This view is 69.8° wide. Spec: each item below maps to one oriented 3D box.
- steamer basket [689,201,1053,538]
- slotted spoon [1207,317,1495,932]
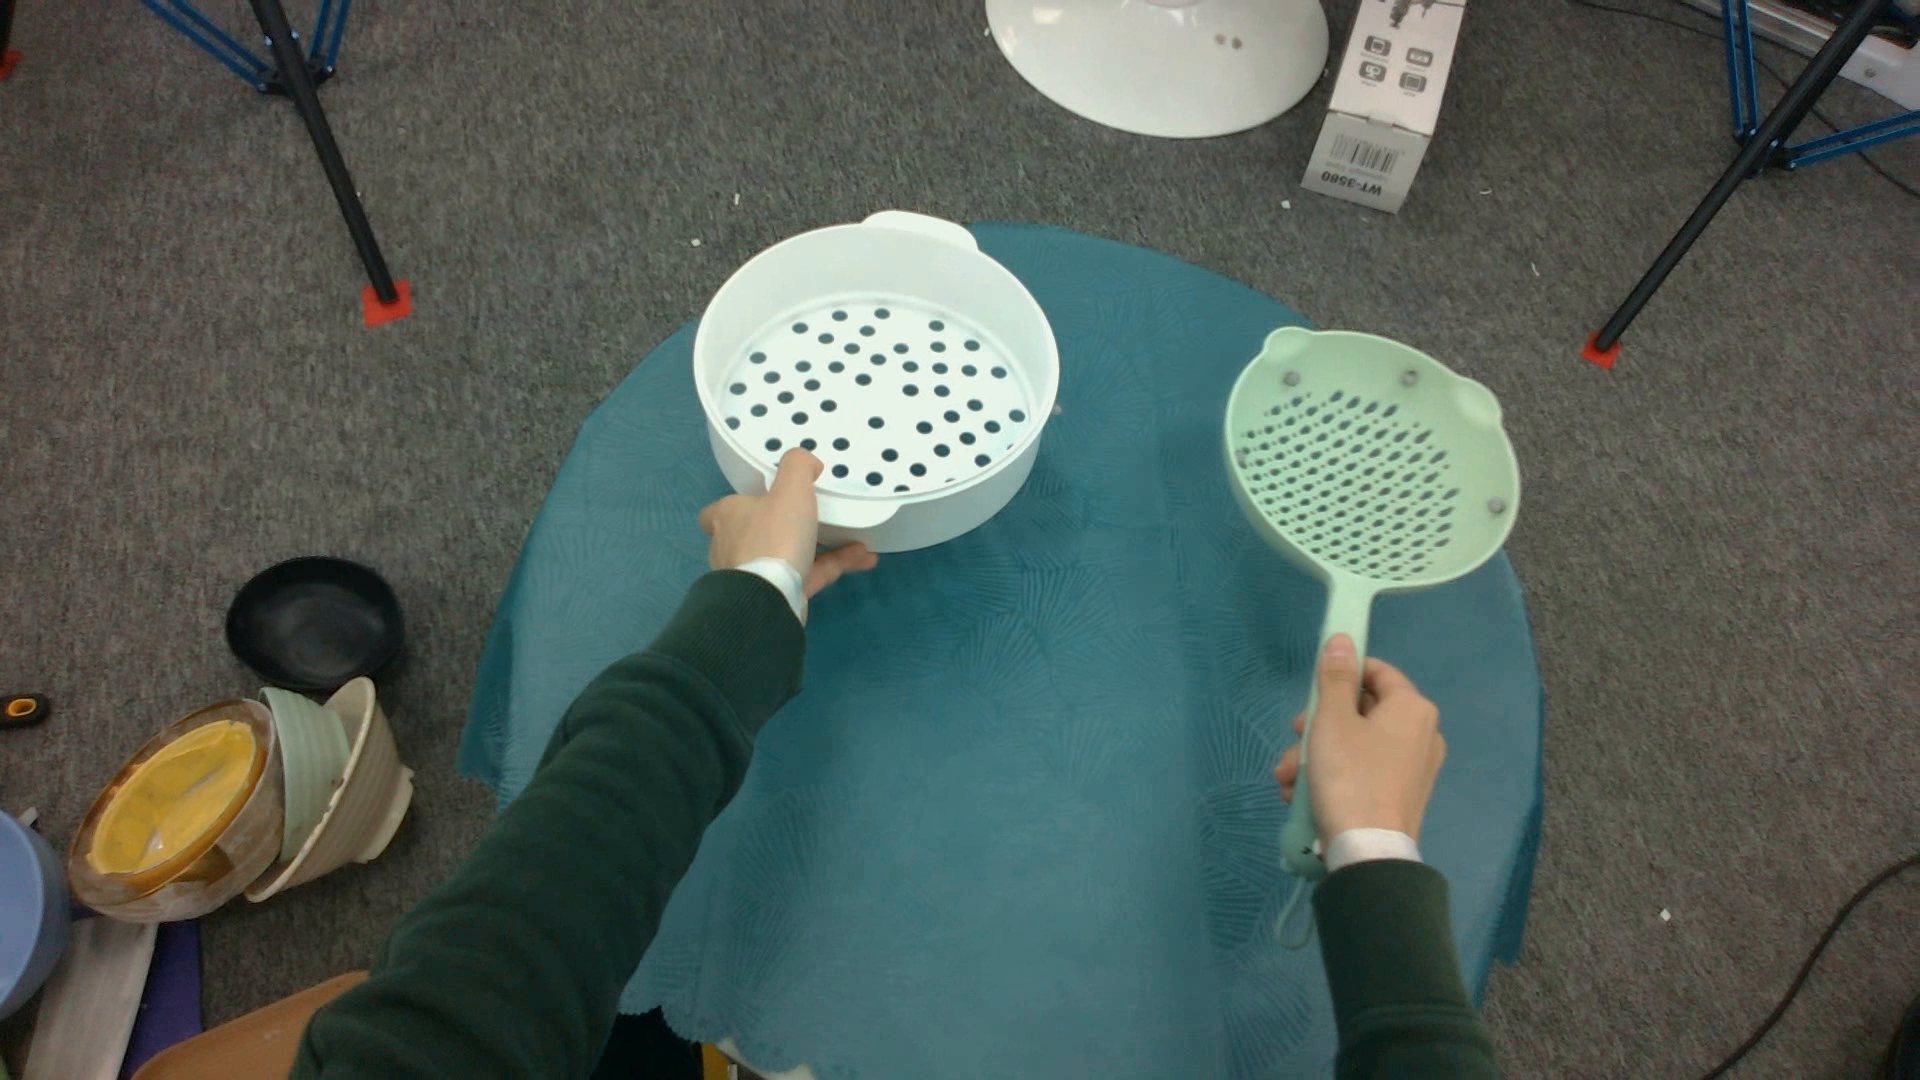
[{"bbox_3d":[-0.051,-0.094,0.788,0.202,0.069,0.231,12,56,3],"label":"steamer basket"},{"bbox_3d":[0.194,0.029,0.728,0.169,0.075,0.360,17,49,-1],"label":"slotted spoon"}]
